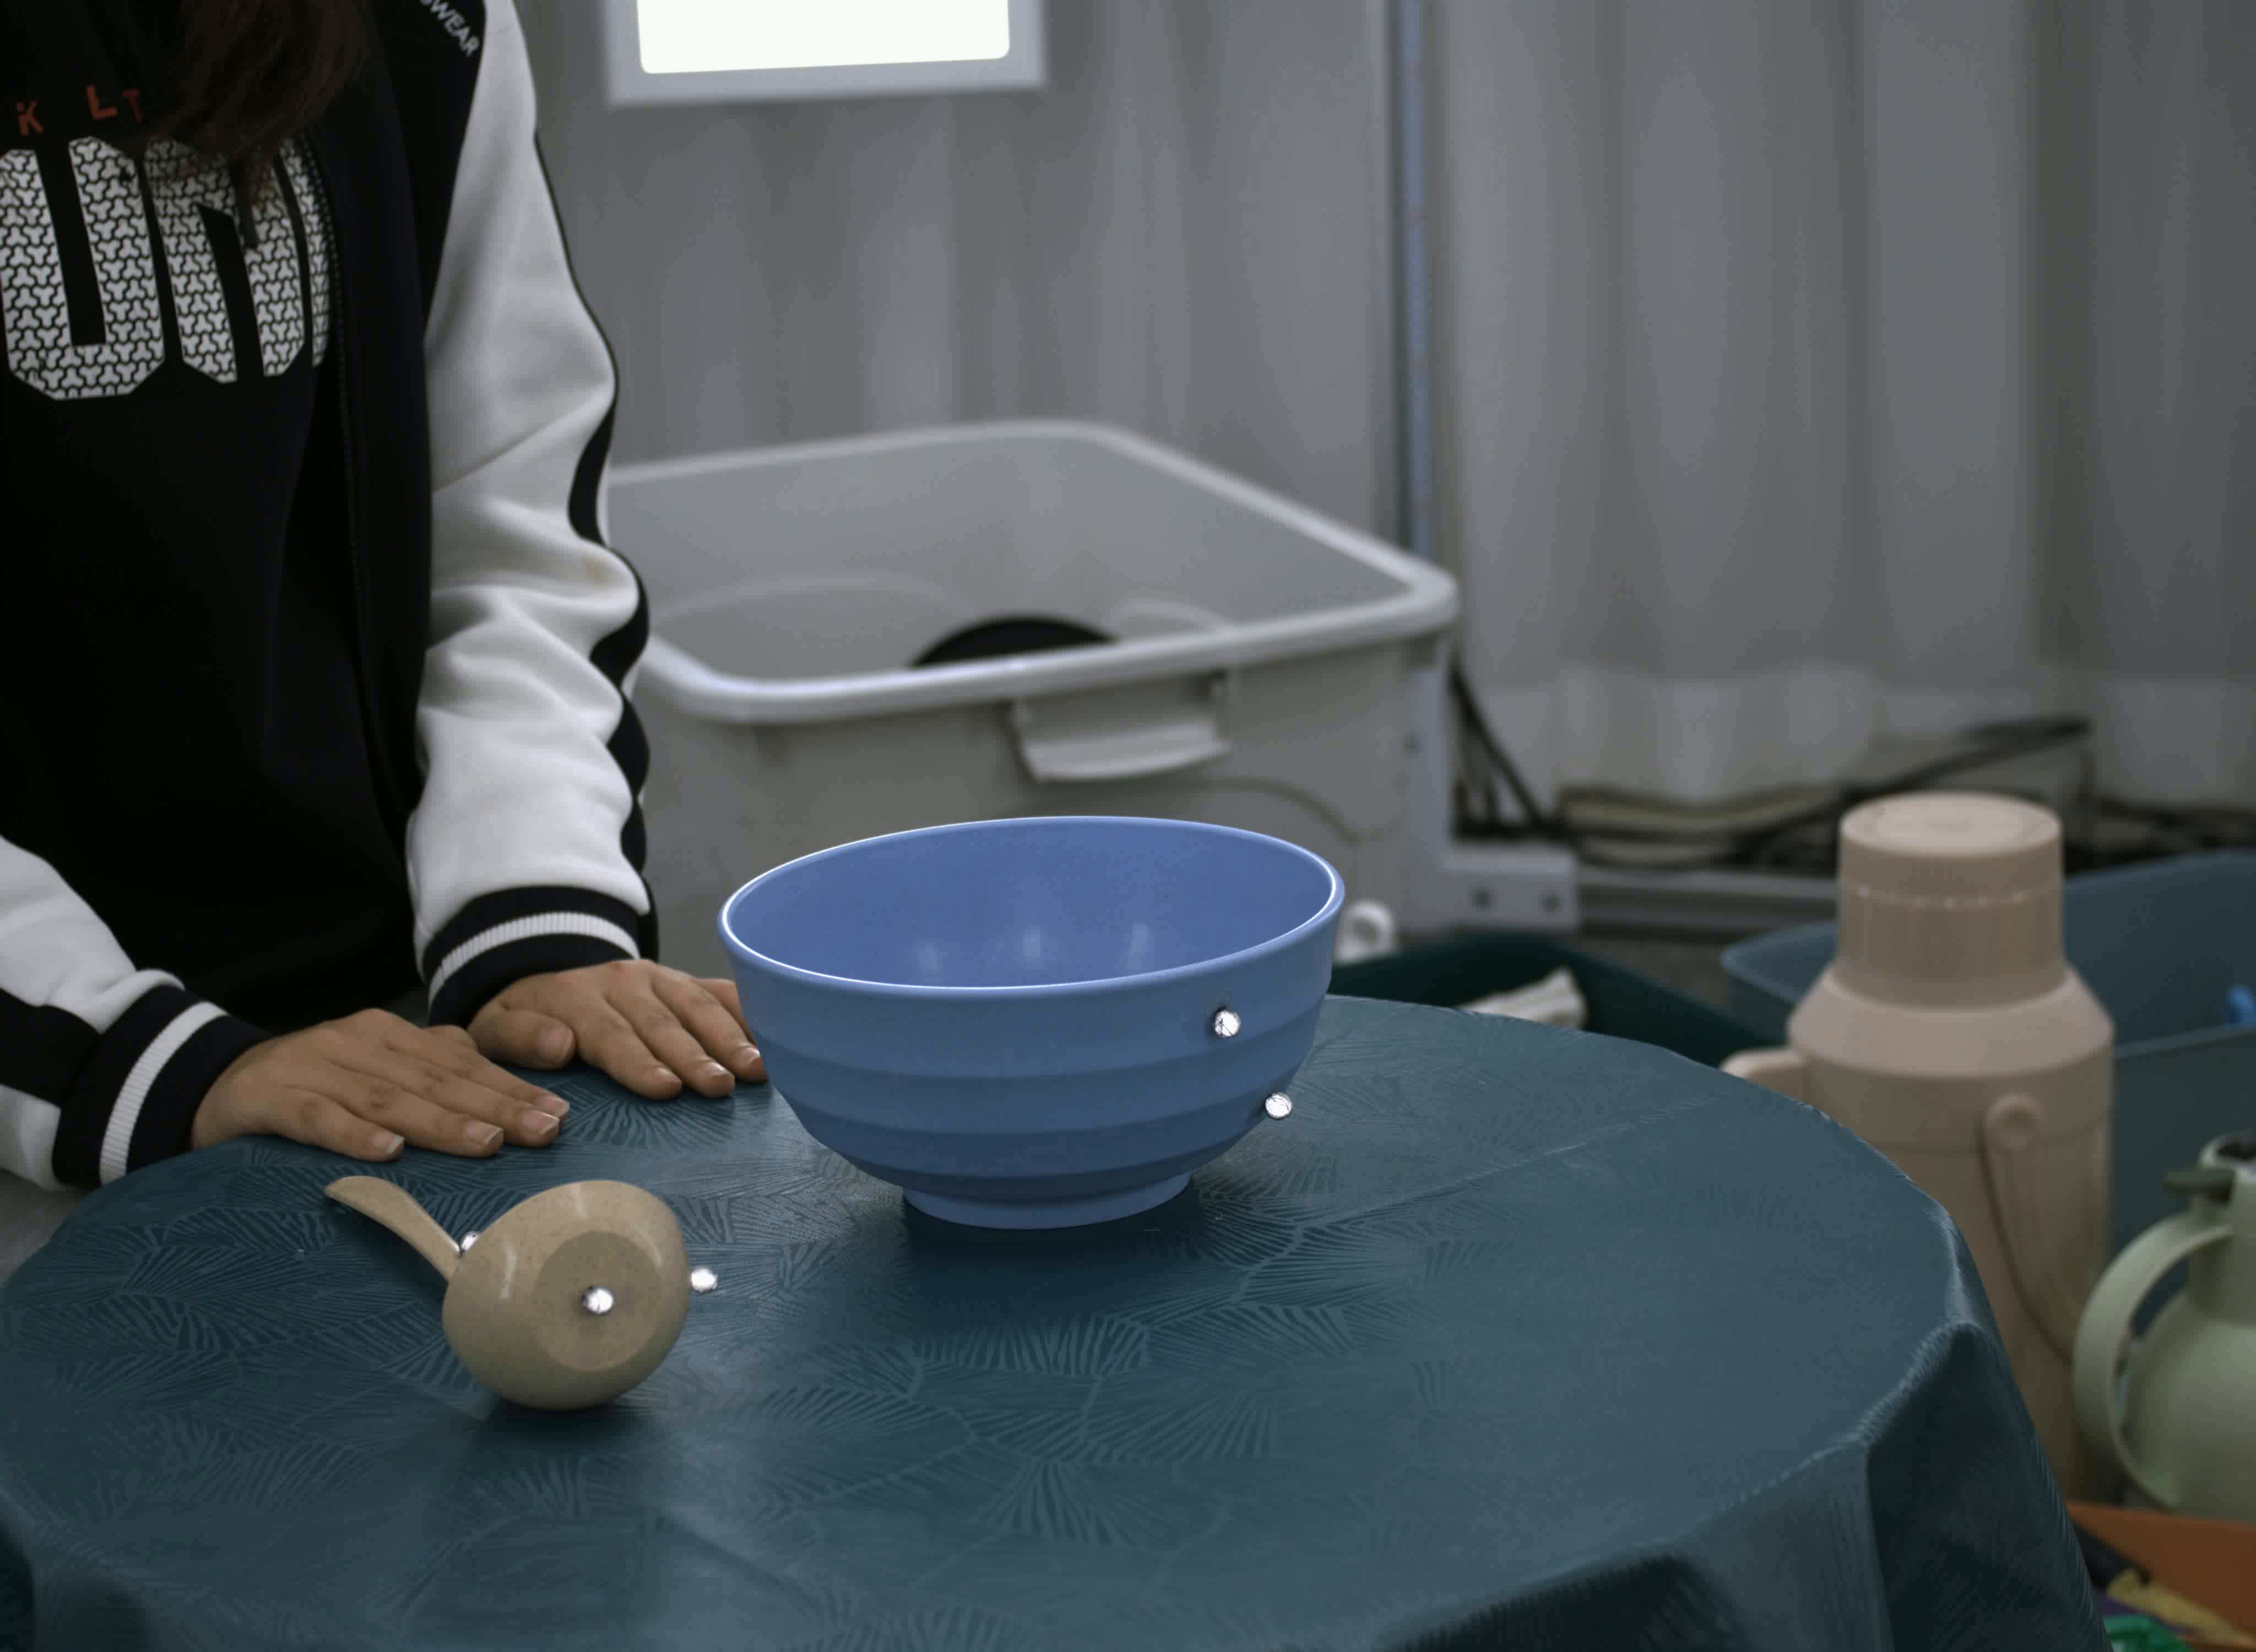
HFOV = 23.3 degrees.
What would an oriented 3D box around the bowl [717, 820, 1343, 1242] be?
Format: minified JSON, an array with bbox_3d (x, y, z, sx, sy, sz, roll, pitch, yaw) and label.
[{"bbox_3d":[-0.027,0.071,1.716,0.196,0.095,0.198,-4,15,1],"label":"bowl"}]

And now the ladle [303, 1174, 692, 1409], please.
[{"bbox_3d":[-0.202,0.110,1.632,0.072,0.072,0.256,-9,16,-25],"label":"ladle"}]
